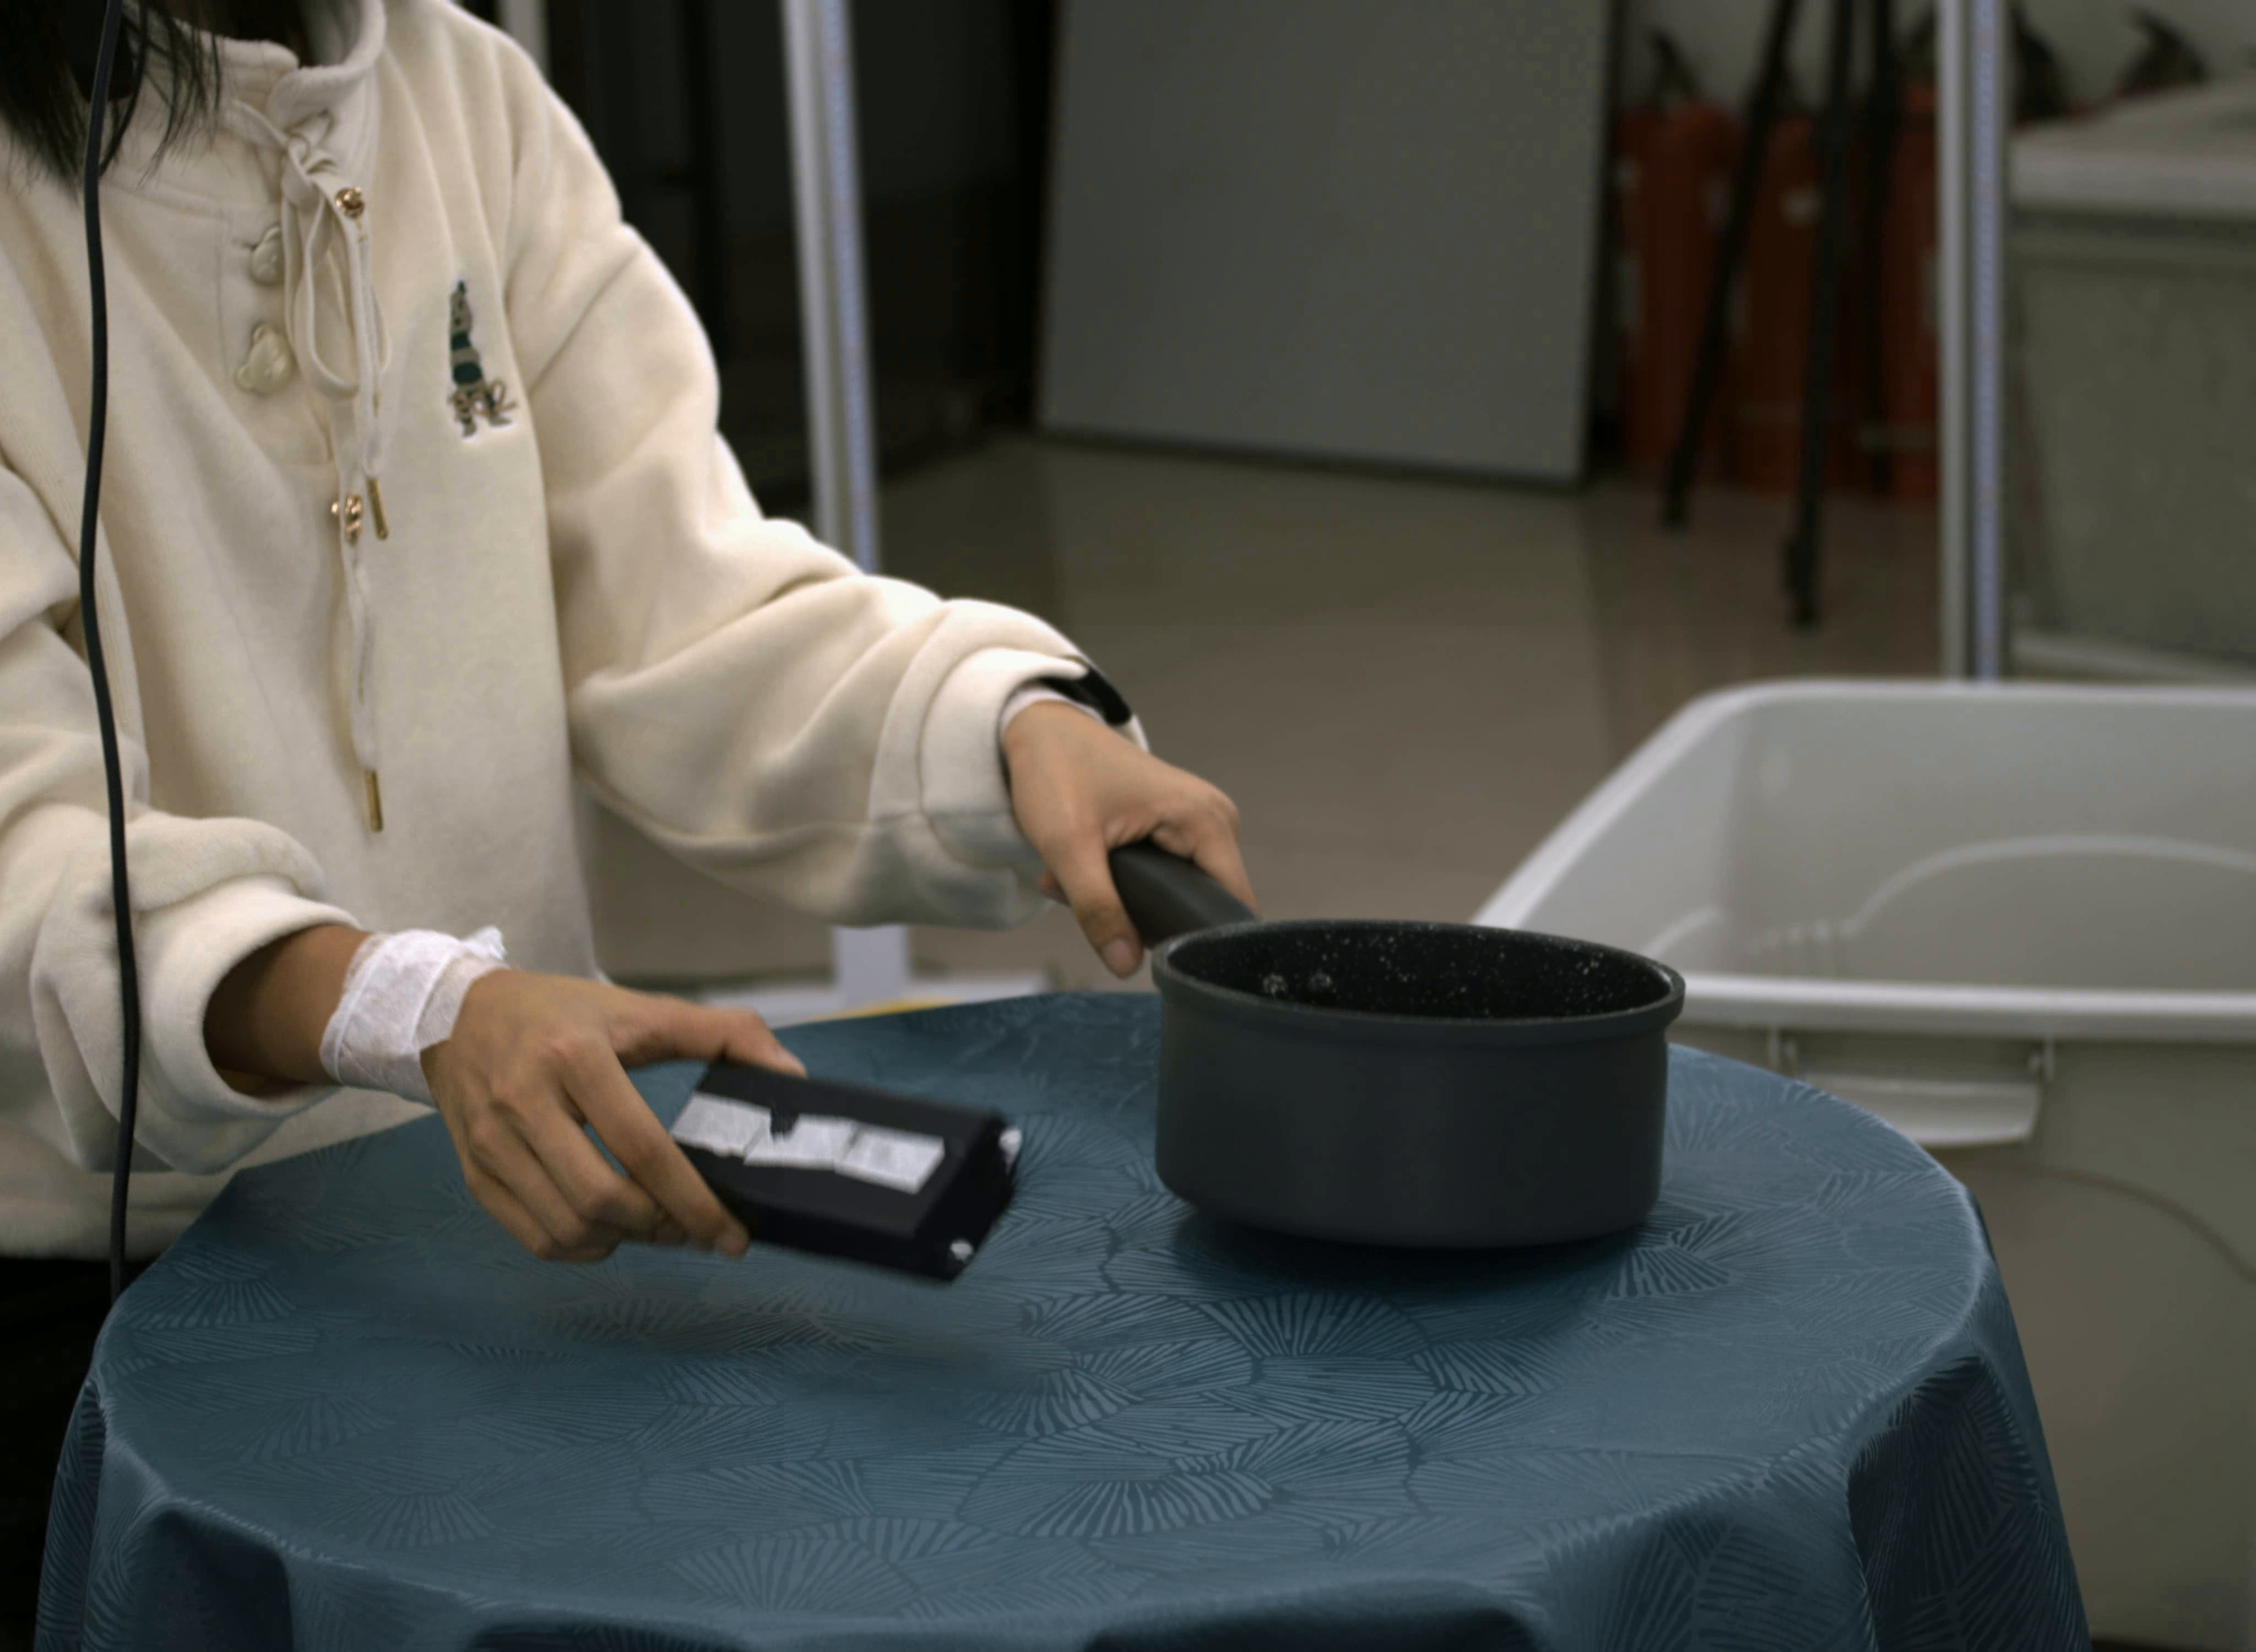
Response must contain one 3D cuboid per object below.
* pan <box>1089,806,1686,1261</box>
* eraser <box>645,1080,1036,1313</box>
[{"bbox_3d":[0.060,0.066,1.783,0.168,0.087,0.332,-3,12,-22],"label":"pan"},{"bbox_3d":[-0.087,0.111,1.643,0.126,0.030,0.053,9,52,44],"label":"eraser"}]
